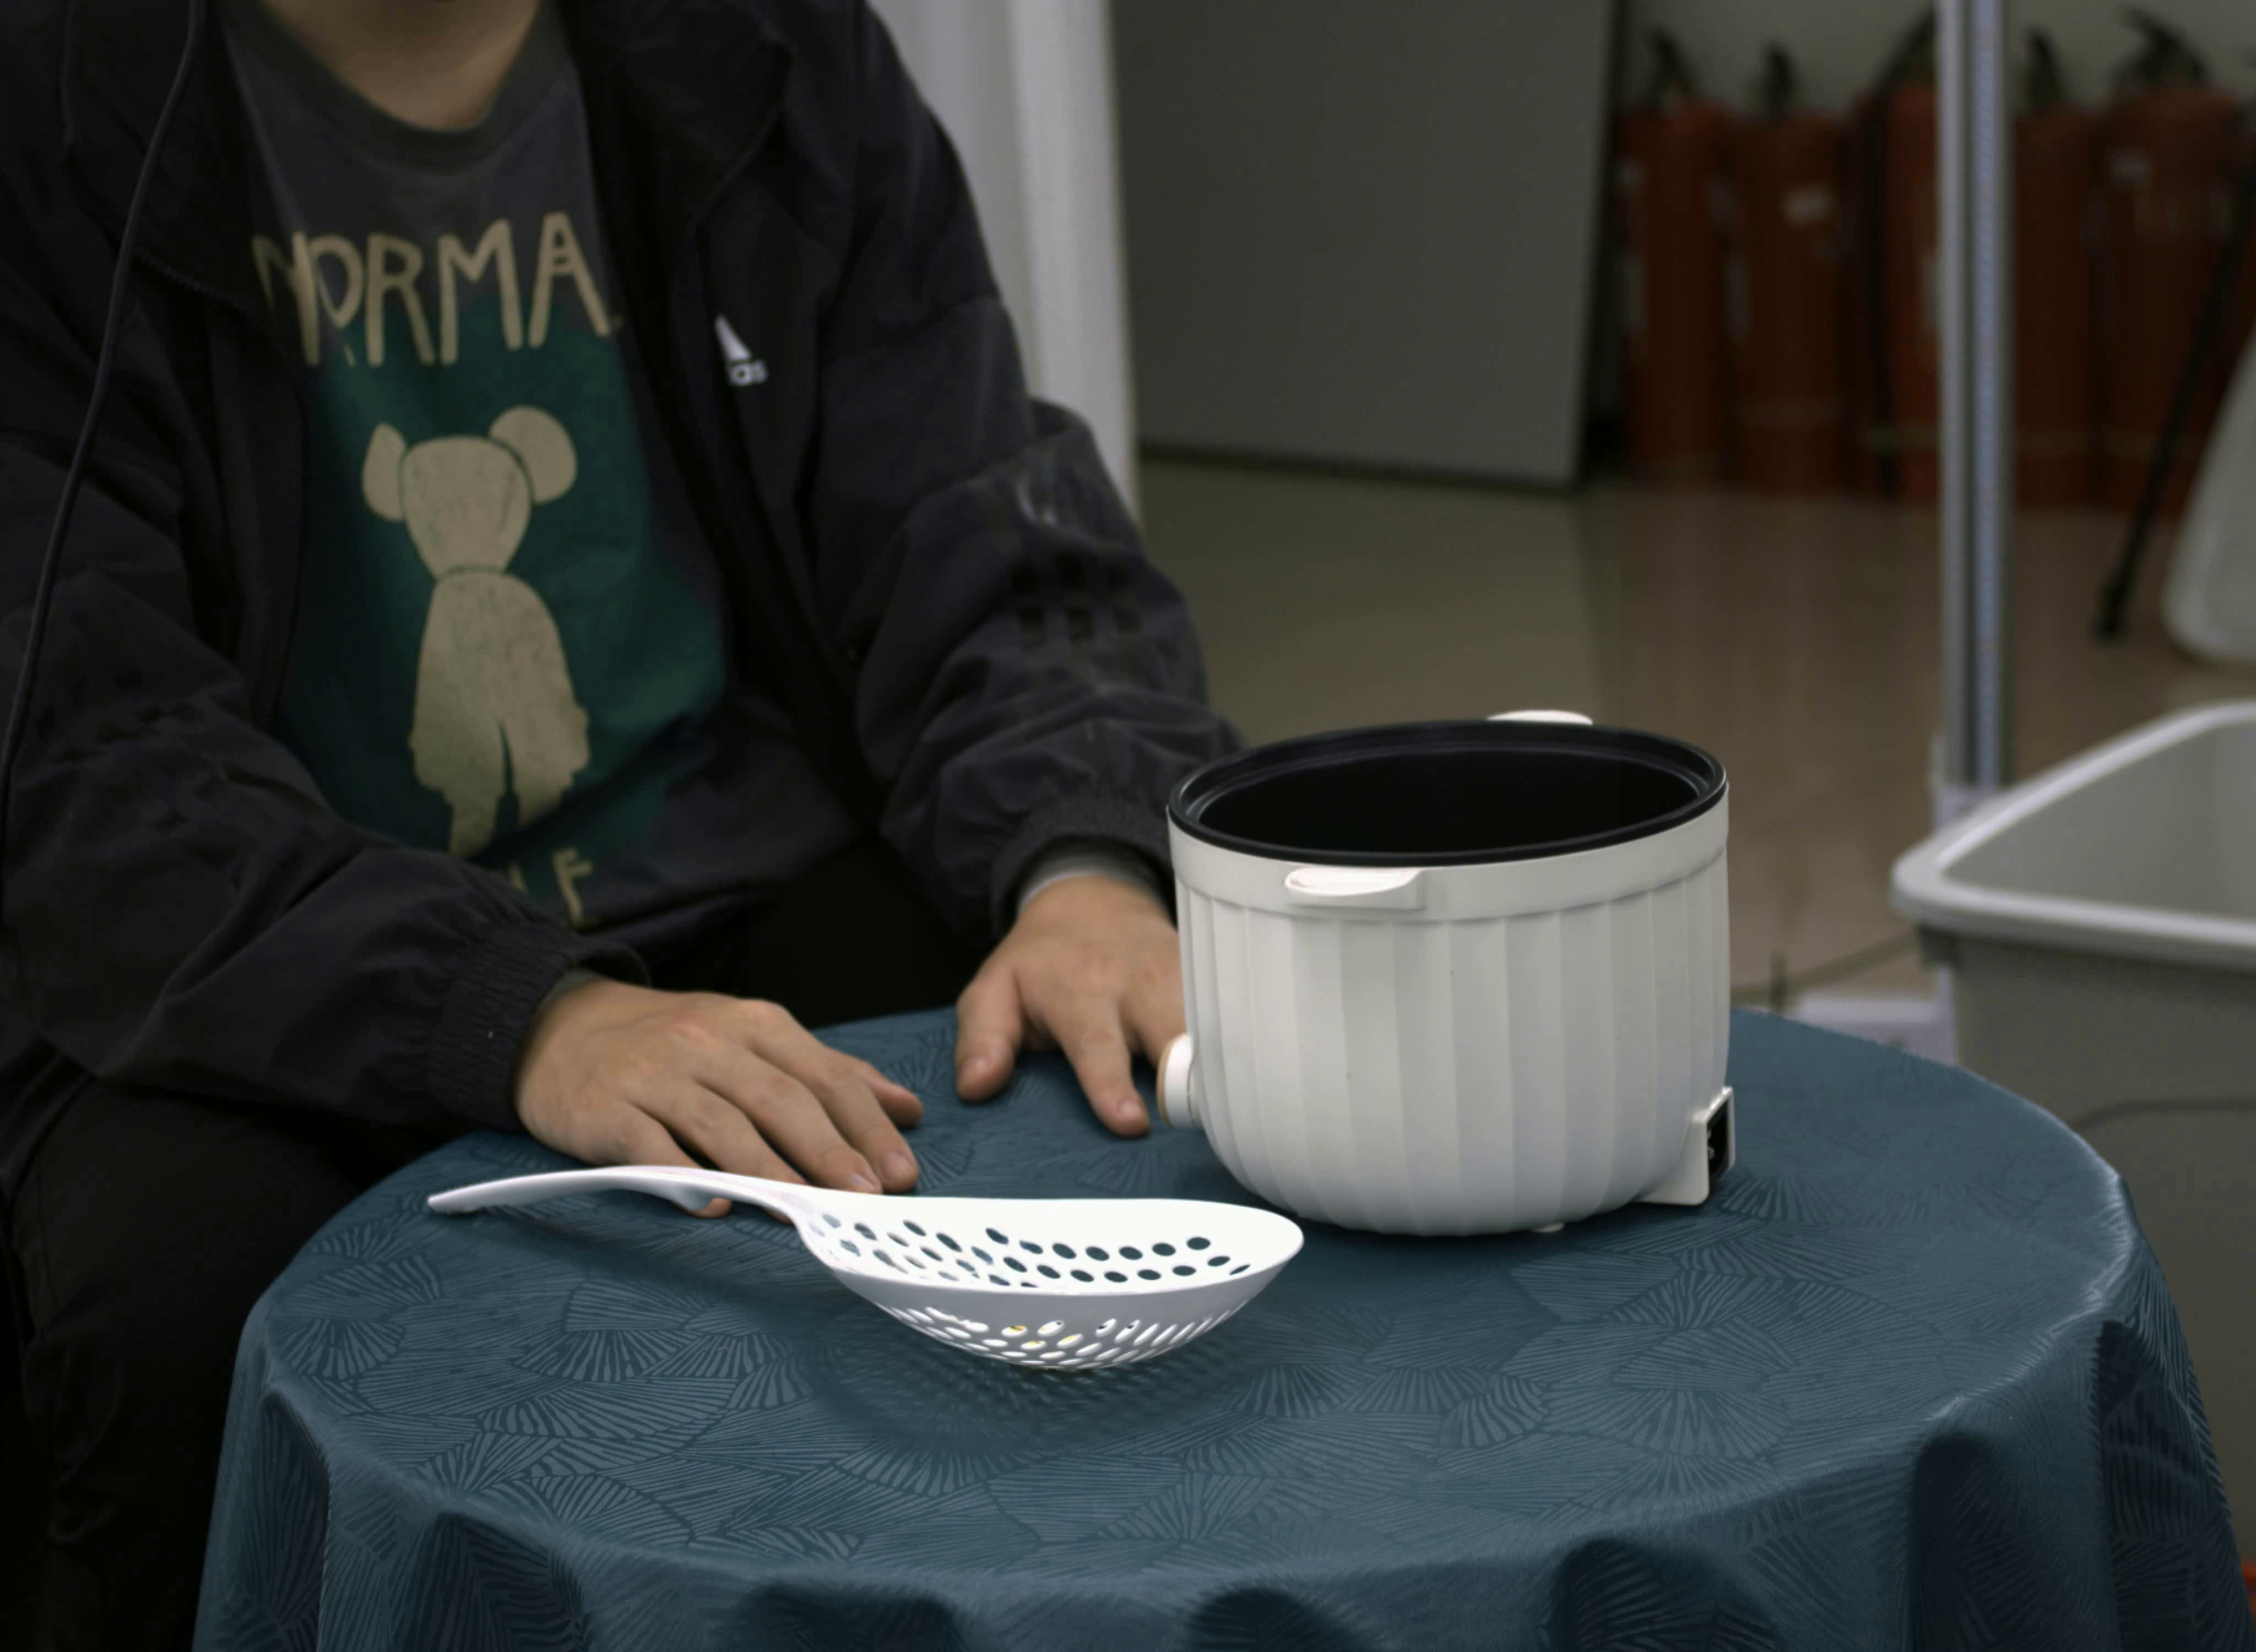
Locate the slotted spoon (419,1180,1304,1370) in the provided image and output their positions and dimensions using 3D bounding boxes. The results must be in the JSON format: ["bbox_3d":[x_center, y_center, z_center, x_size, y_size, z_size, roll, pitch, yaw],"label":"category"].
[{"bbox_3d":[-0.097,0.129,1.683,0.351,0.051,0.134,8,14,42],"label":"slotted spoon"}]

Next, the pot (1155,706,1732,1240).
[{"bbox_3d":[0.100,0.050,1.743,0.190,0.144,0.238,4,14,20],"label":"pot"}]
